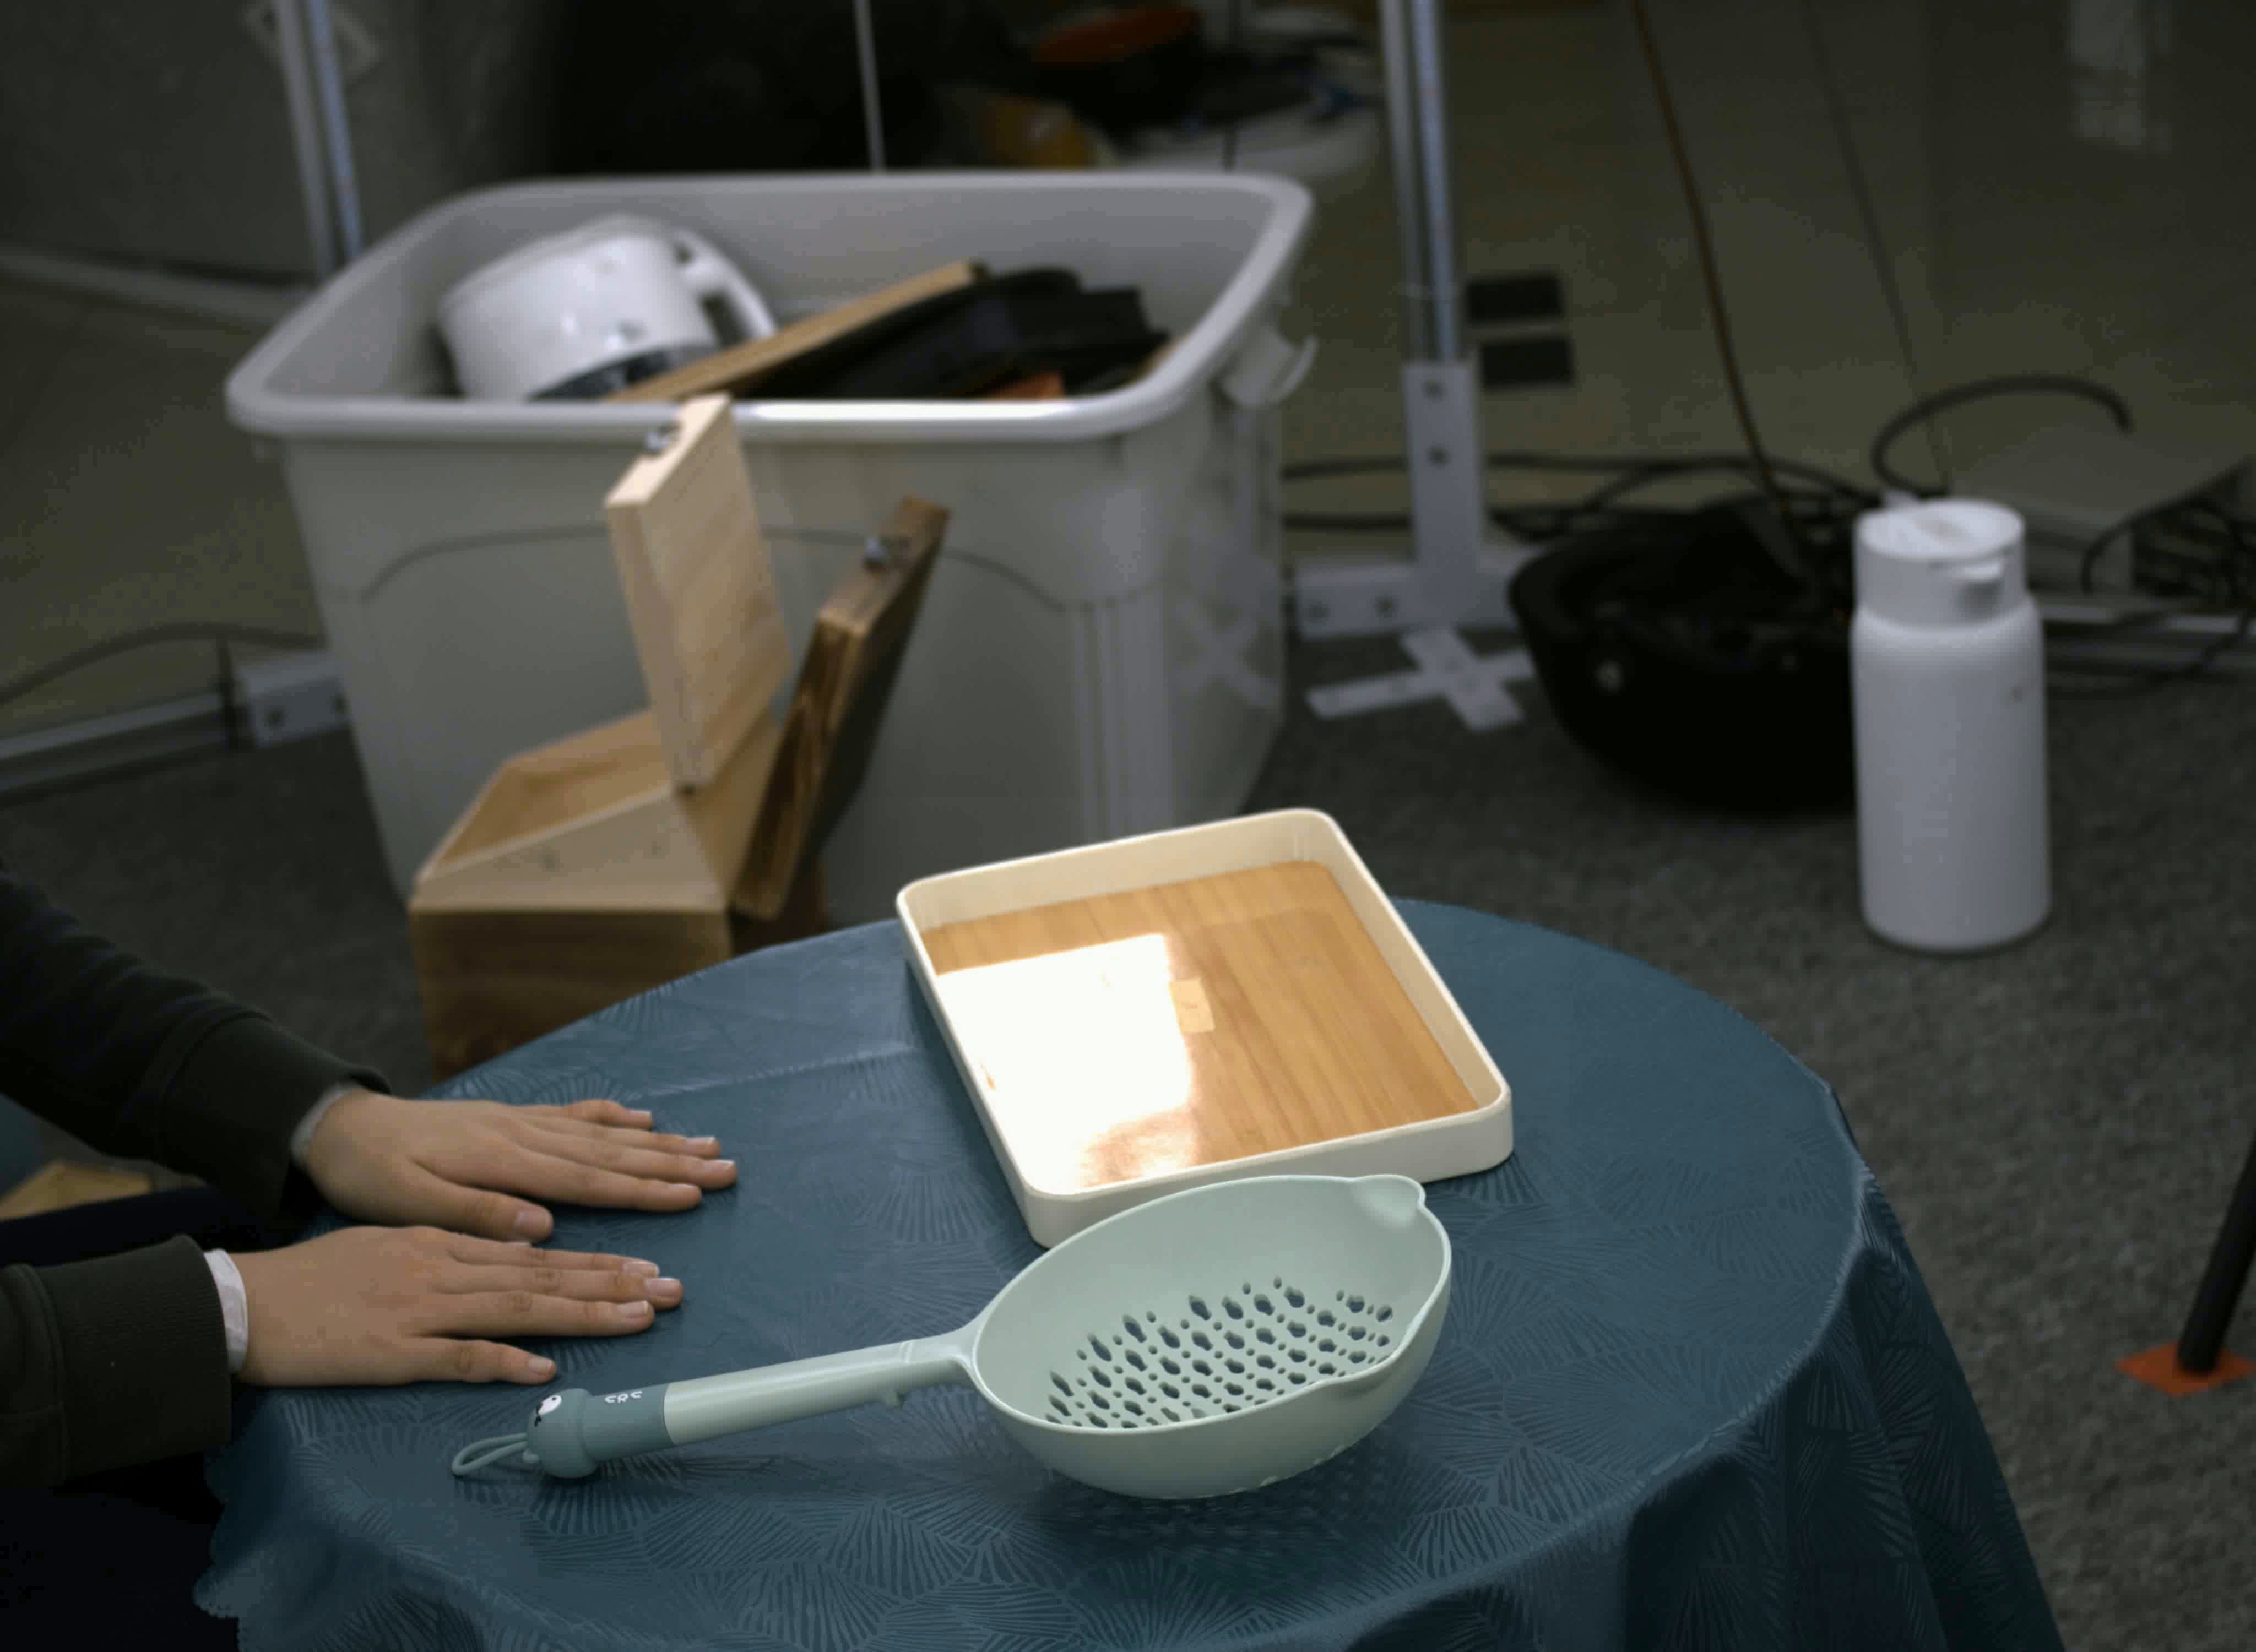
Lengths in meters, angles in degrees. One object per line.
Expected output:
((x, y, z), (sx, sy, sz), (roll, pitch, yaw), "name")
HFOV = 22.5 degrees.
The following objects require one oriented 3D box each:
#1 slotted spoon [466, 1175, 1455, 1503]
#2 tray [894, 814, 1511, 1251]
((-0.062, 0.191, 1.978), (0.358, 0.076, 0.167), (-3, 25, 8), "slotted spoon")
((0.024, 0.077, 2.248), (0.191, 0.028, 0.296), (-10, 25, -9), "tray")
